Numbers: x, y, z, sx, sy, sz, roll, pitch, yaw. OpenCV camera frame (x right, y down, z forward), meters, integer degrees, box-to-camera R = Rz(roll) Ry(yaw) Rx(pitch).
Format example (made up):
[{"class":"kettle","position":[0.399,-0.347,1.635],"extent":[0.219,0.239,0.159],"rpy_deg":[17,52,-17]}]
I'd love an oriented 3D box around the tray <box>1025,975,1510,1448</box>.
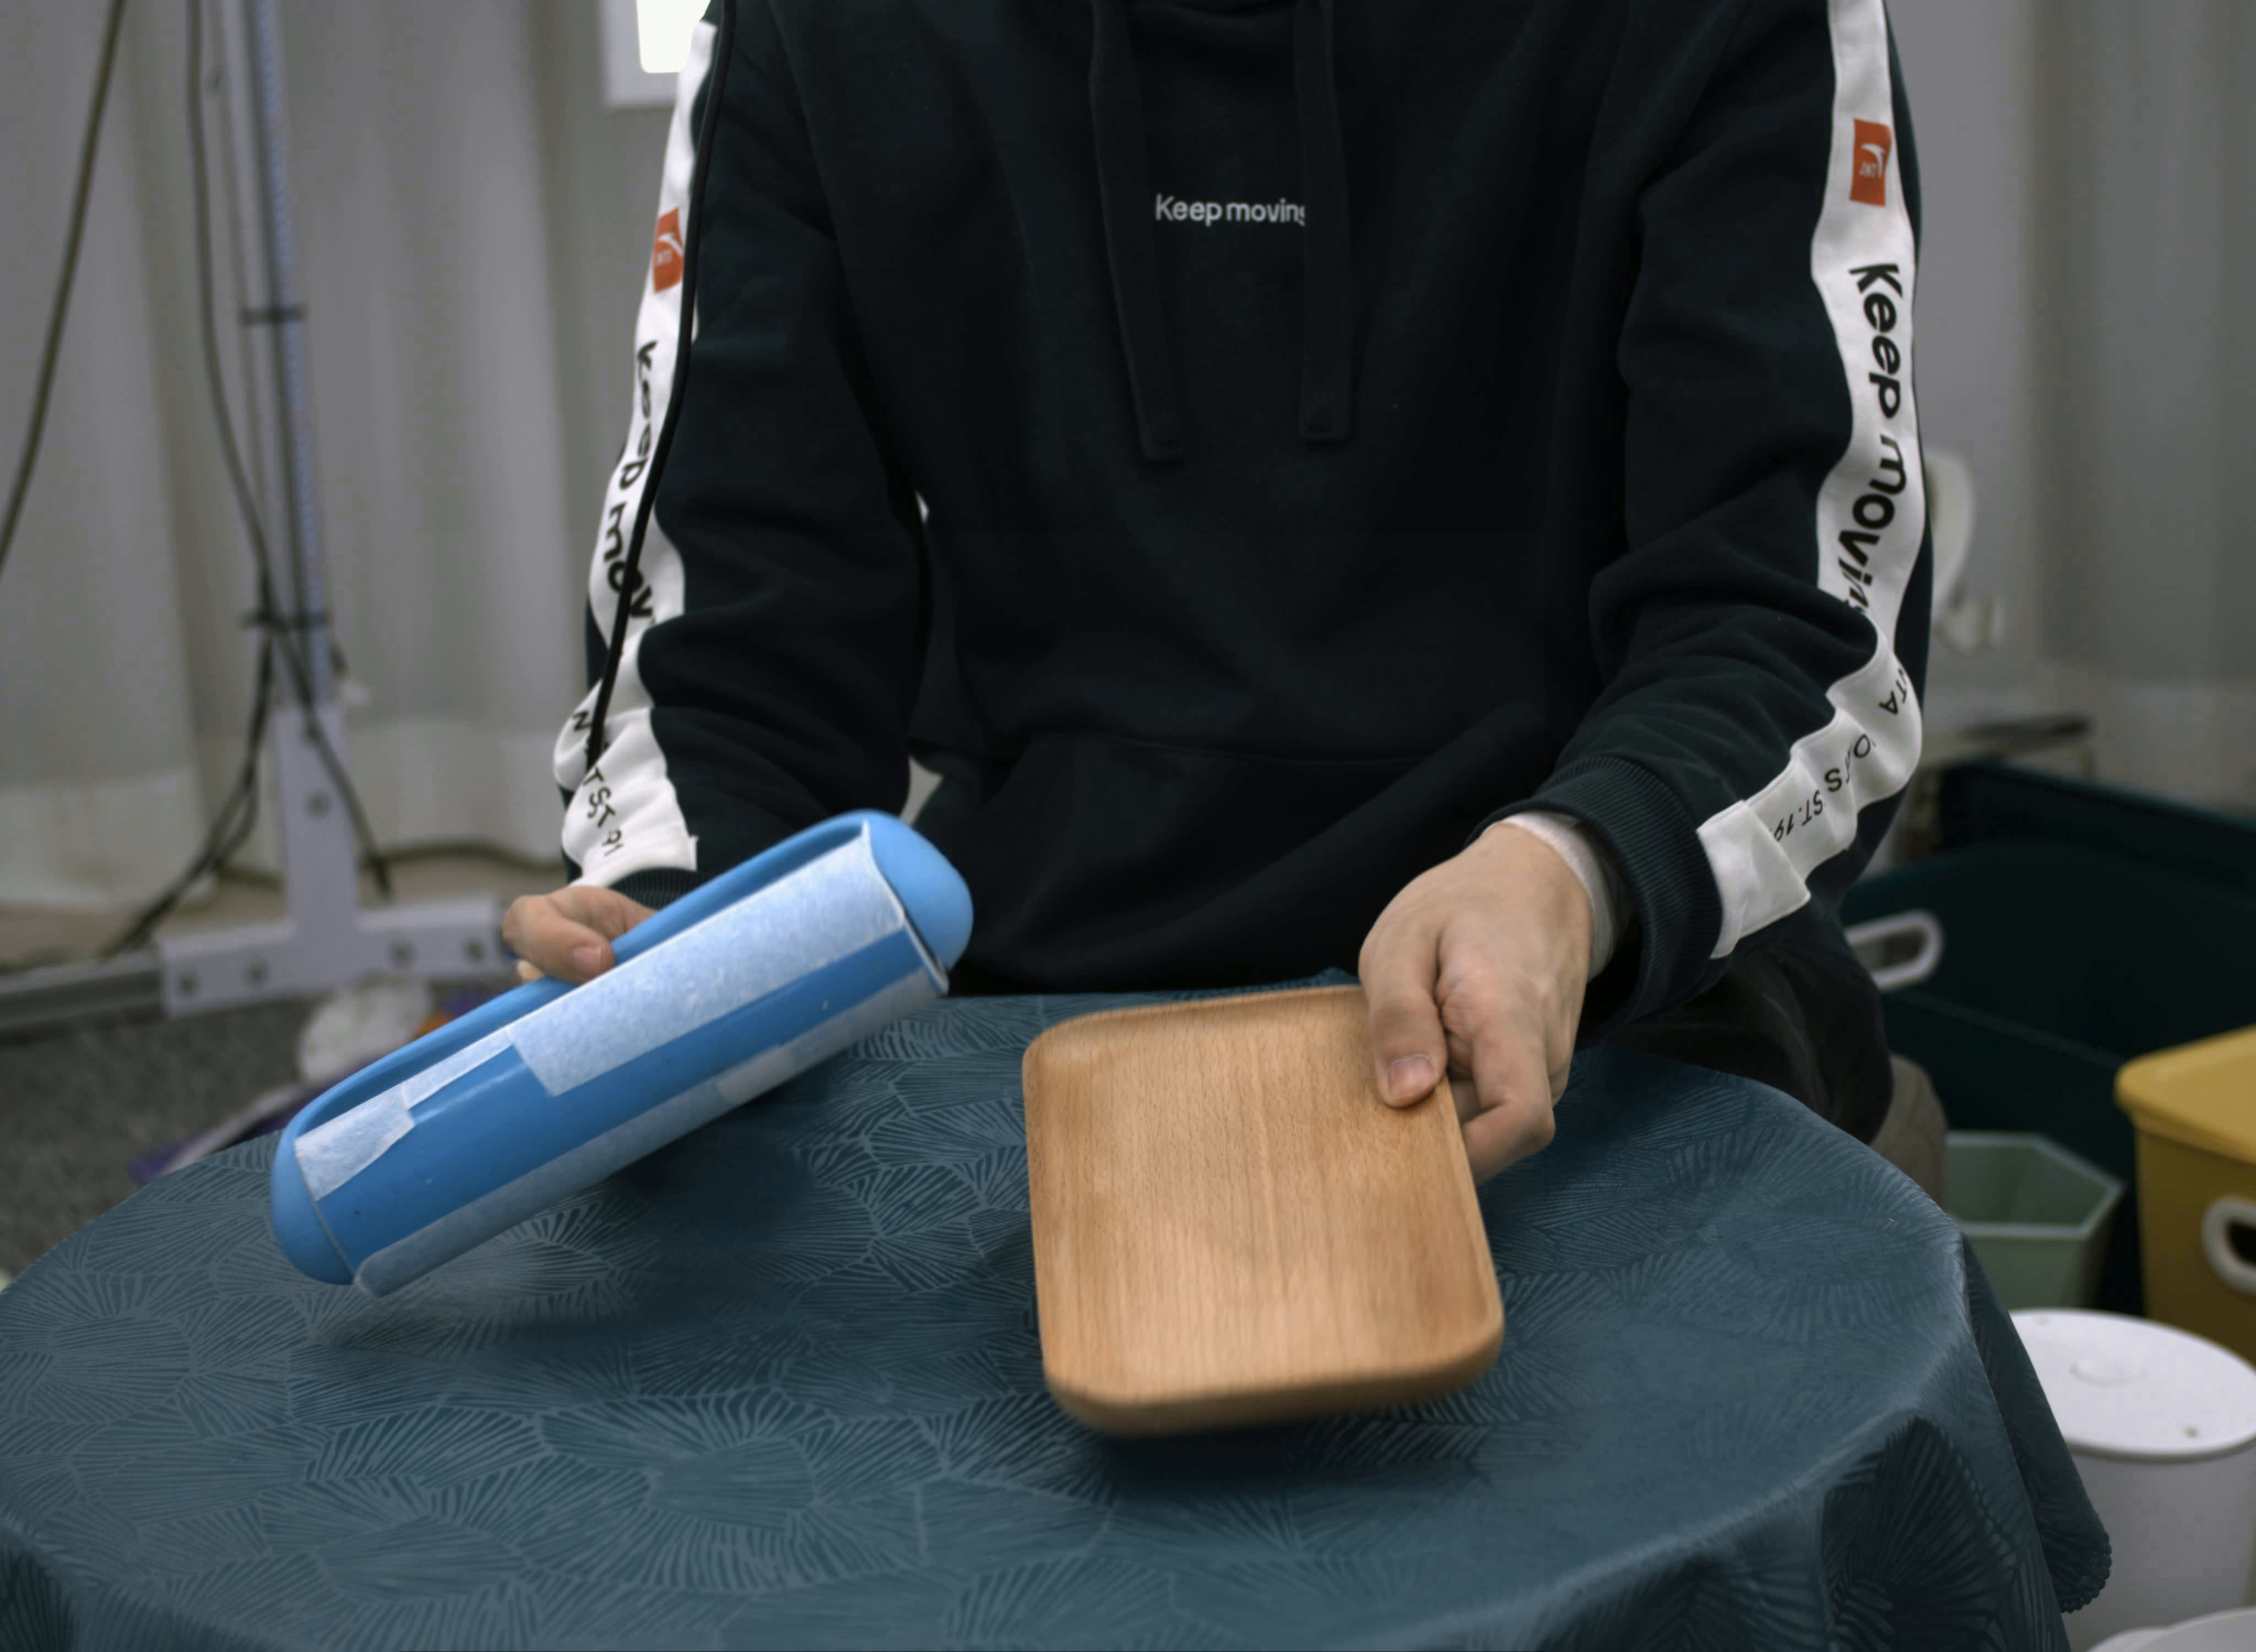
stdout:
[{"class":"tray","position":[0.036,0.107,1.571],"extent":[0.130,0.023,0.253],"rpy_deg":[-3,24,0]}]

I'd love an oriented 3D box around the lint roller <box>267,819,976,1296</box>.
[{"class":"lint roller","position":[-0.152,0.069,1.669],"extent":[0.228,0.068,0.180],"rpy_deg":[-29,2,-2]}]
